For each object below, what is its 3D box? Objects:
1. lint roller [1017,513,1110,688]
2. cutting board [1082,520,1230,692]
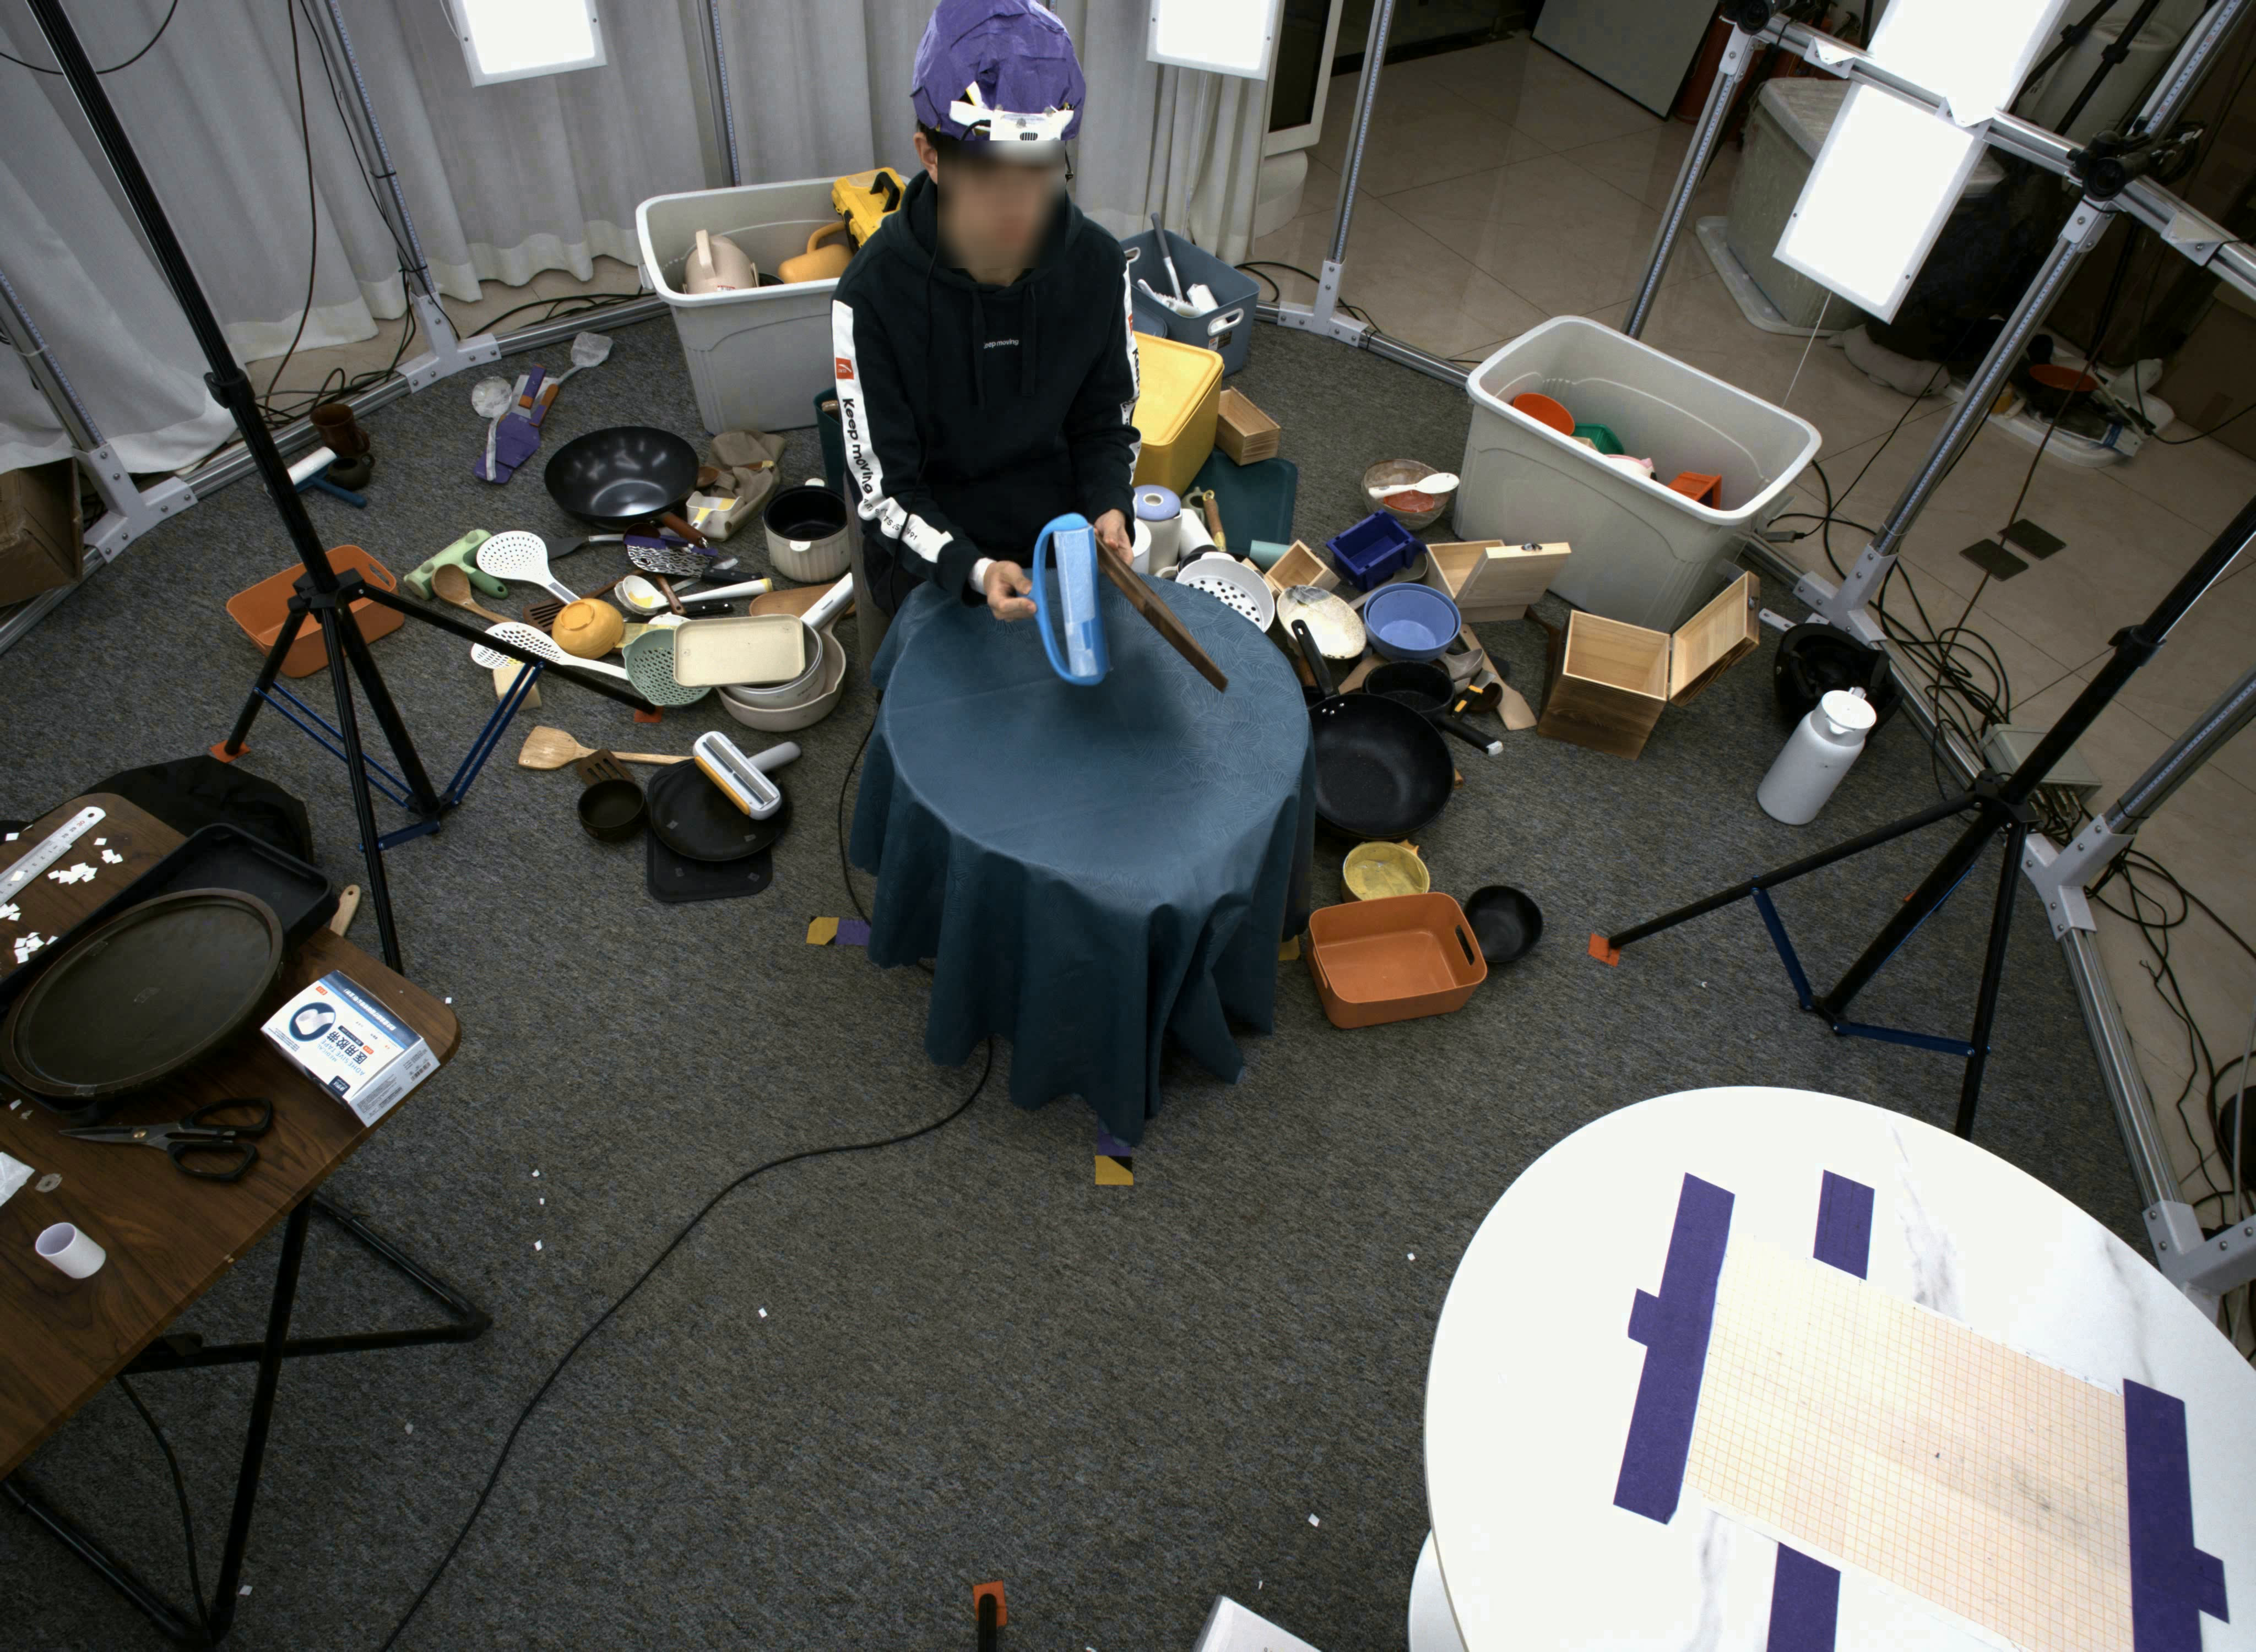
[{"bbox_3d":[-0.104,-0.301,1.728,0.182,0.226,0.068,10,26,44],"label":"lint roller"},{"bbox_3d":[0.012,-0.327,1.765,0.023,0.197,0.360,-43,42,11],"label":"cutting board"}]
